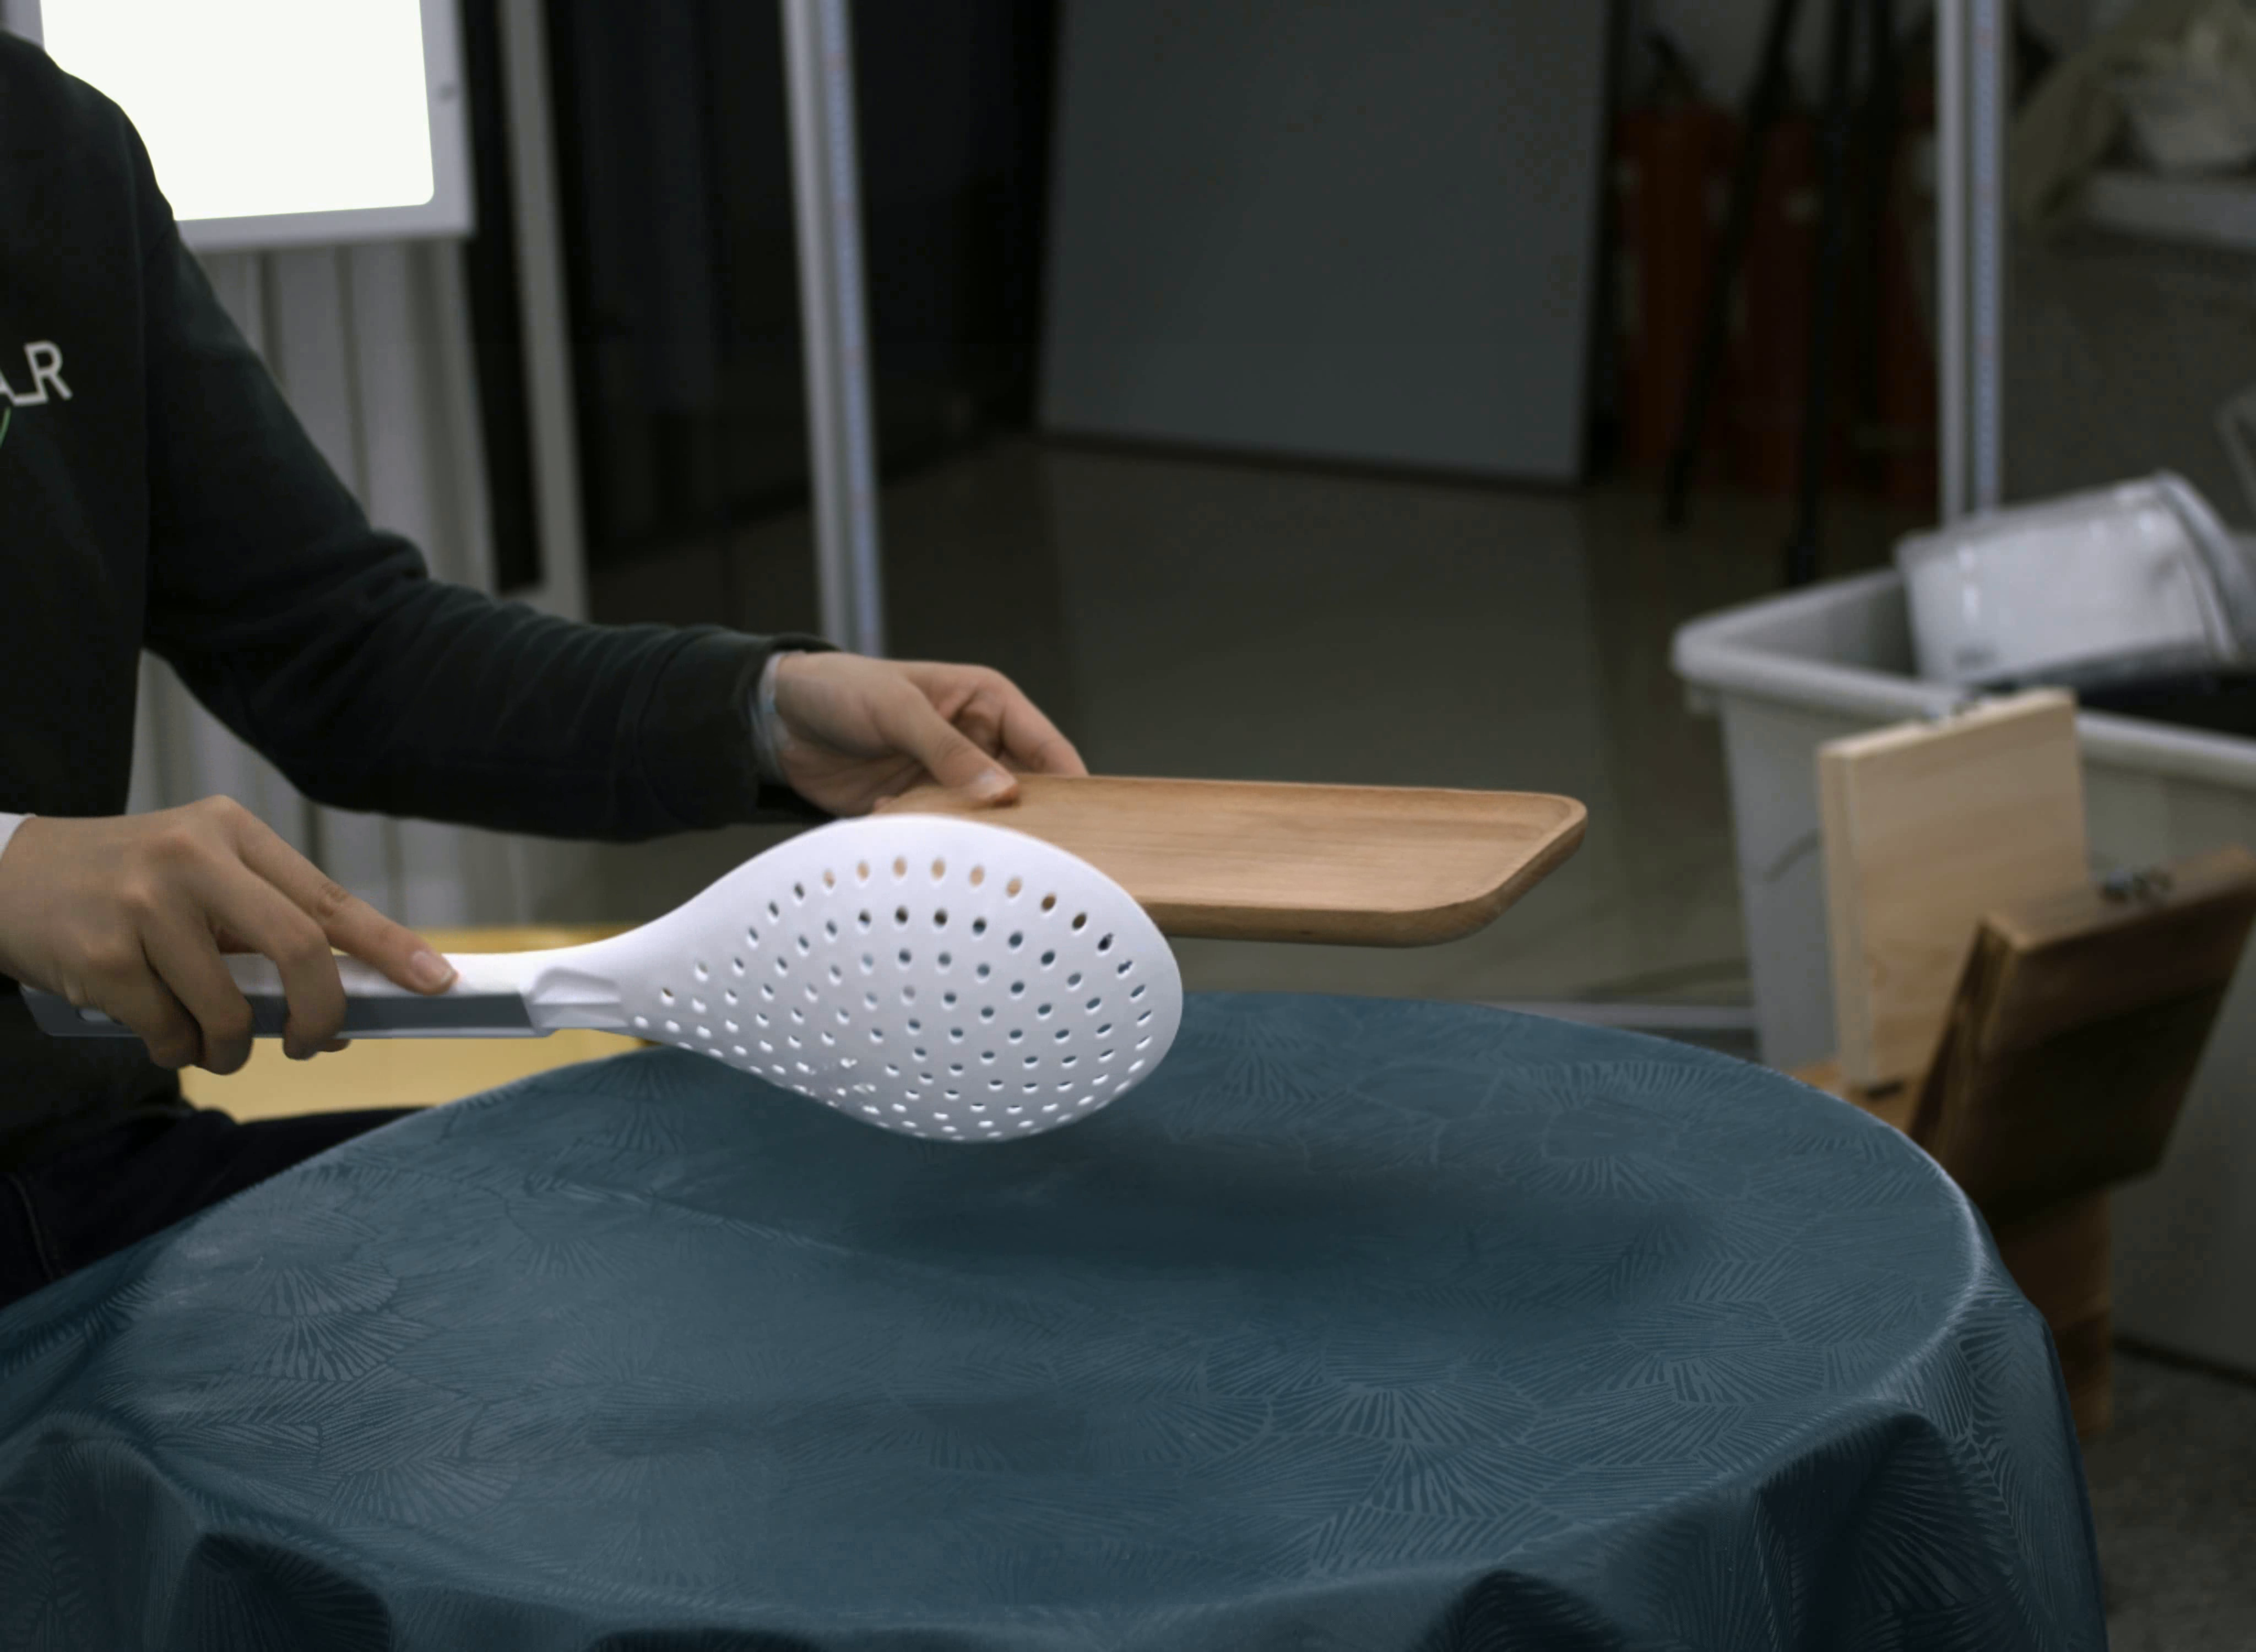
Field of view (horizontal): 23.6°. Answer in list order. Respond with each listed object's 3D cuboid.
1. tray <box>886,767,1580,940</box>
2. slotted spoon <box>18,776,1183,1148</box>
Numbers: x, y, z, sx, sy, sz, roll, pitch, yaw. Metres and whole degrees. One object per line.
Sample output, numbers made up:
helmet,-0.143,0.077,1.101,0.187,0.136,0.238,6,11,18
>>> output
tray,0.019,0.008,1.760,0.251,0.023,0.129,1,16,29
slotted spoon,-0.156,0.046,1.564,0.348,0.136,0.046,2,40,17
